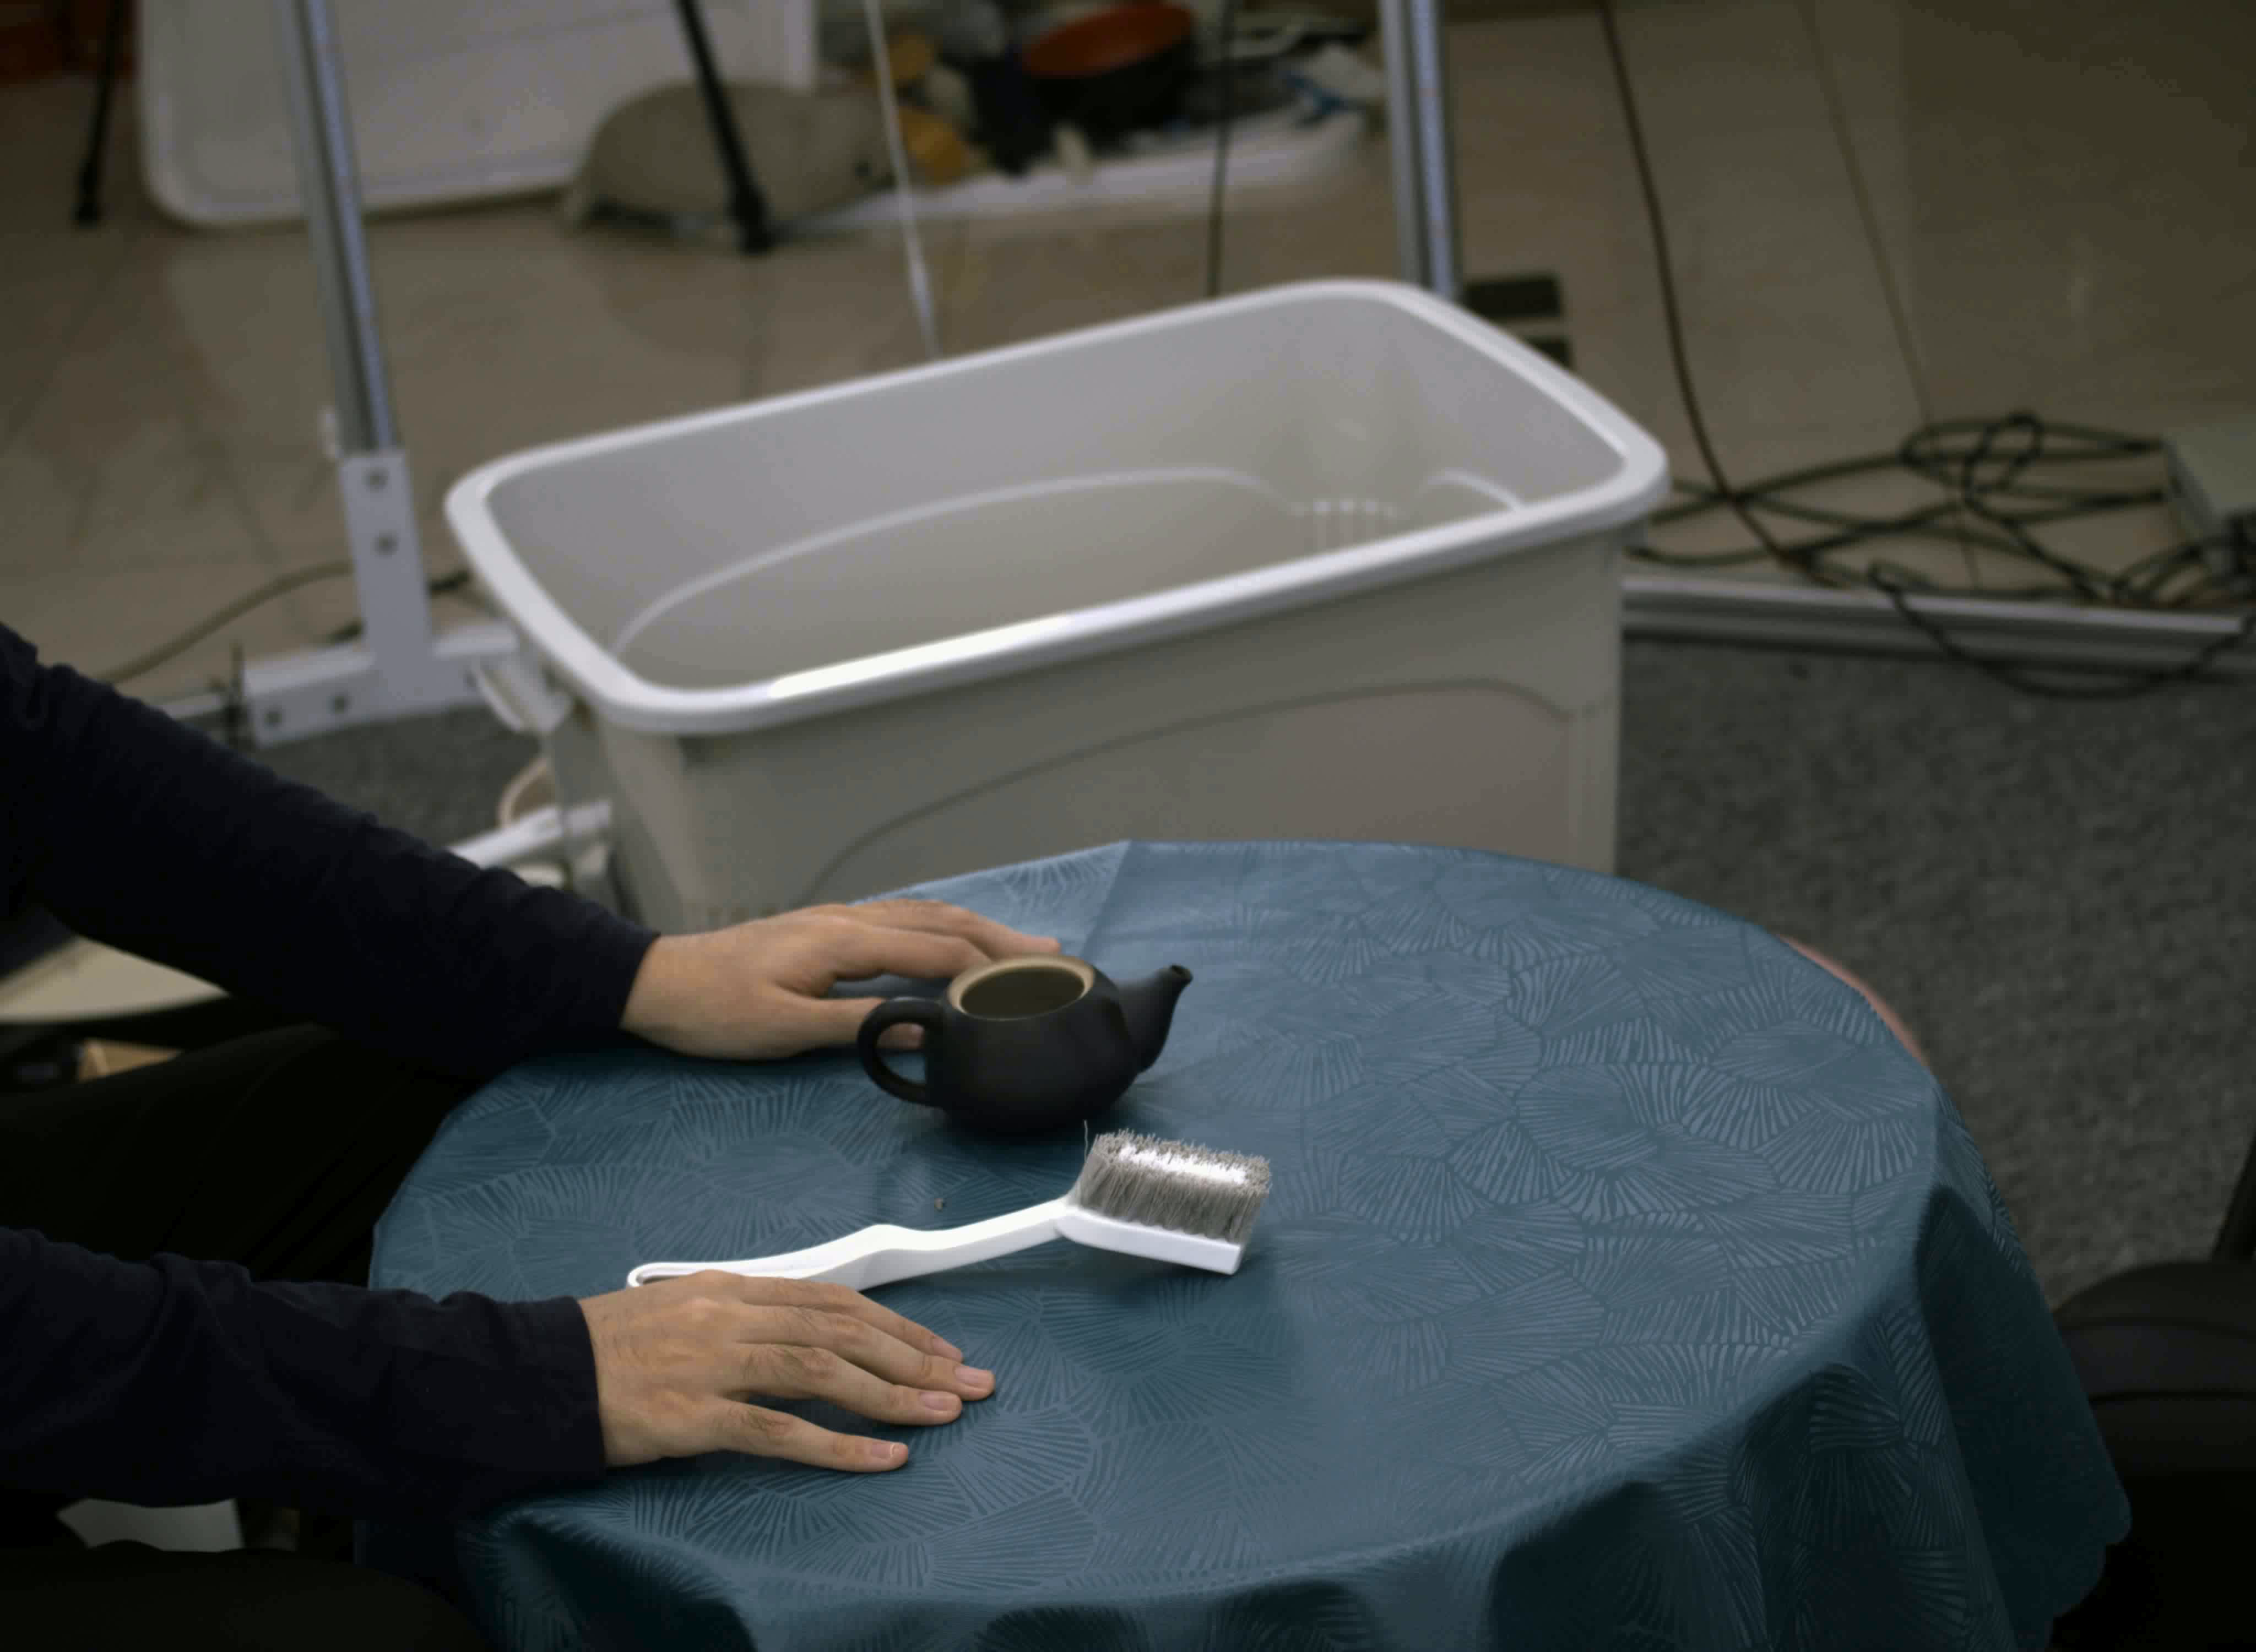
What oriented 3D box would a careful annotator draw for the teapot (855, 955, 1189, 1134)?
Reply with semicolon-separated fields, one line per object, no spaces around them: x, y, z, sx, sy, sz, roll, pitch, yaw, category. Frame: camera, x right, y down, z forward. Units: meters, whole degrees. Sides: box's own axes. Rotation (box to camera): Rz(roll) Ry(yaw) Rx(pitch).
-0.040;0.086;2.209;0.133;0.054;0.090;-7;22;-1;teapot

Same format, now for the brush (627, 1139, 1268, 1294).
-0.068;0.145;2.095;0.243;0.051;0.034;-3;30;8;brush
